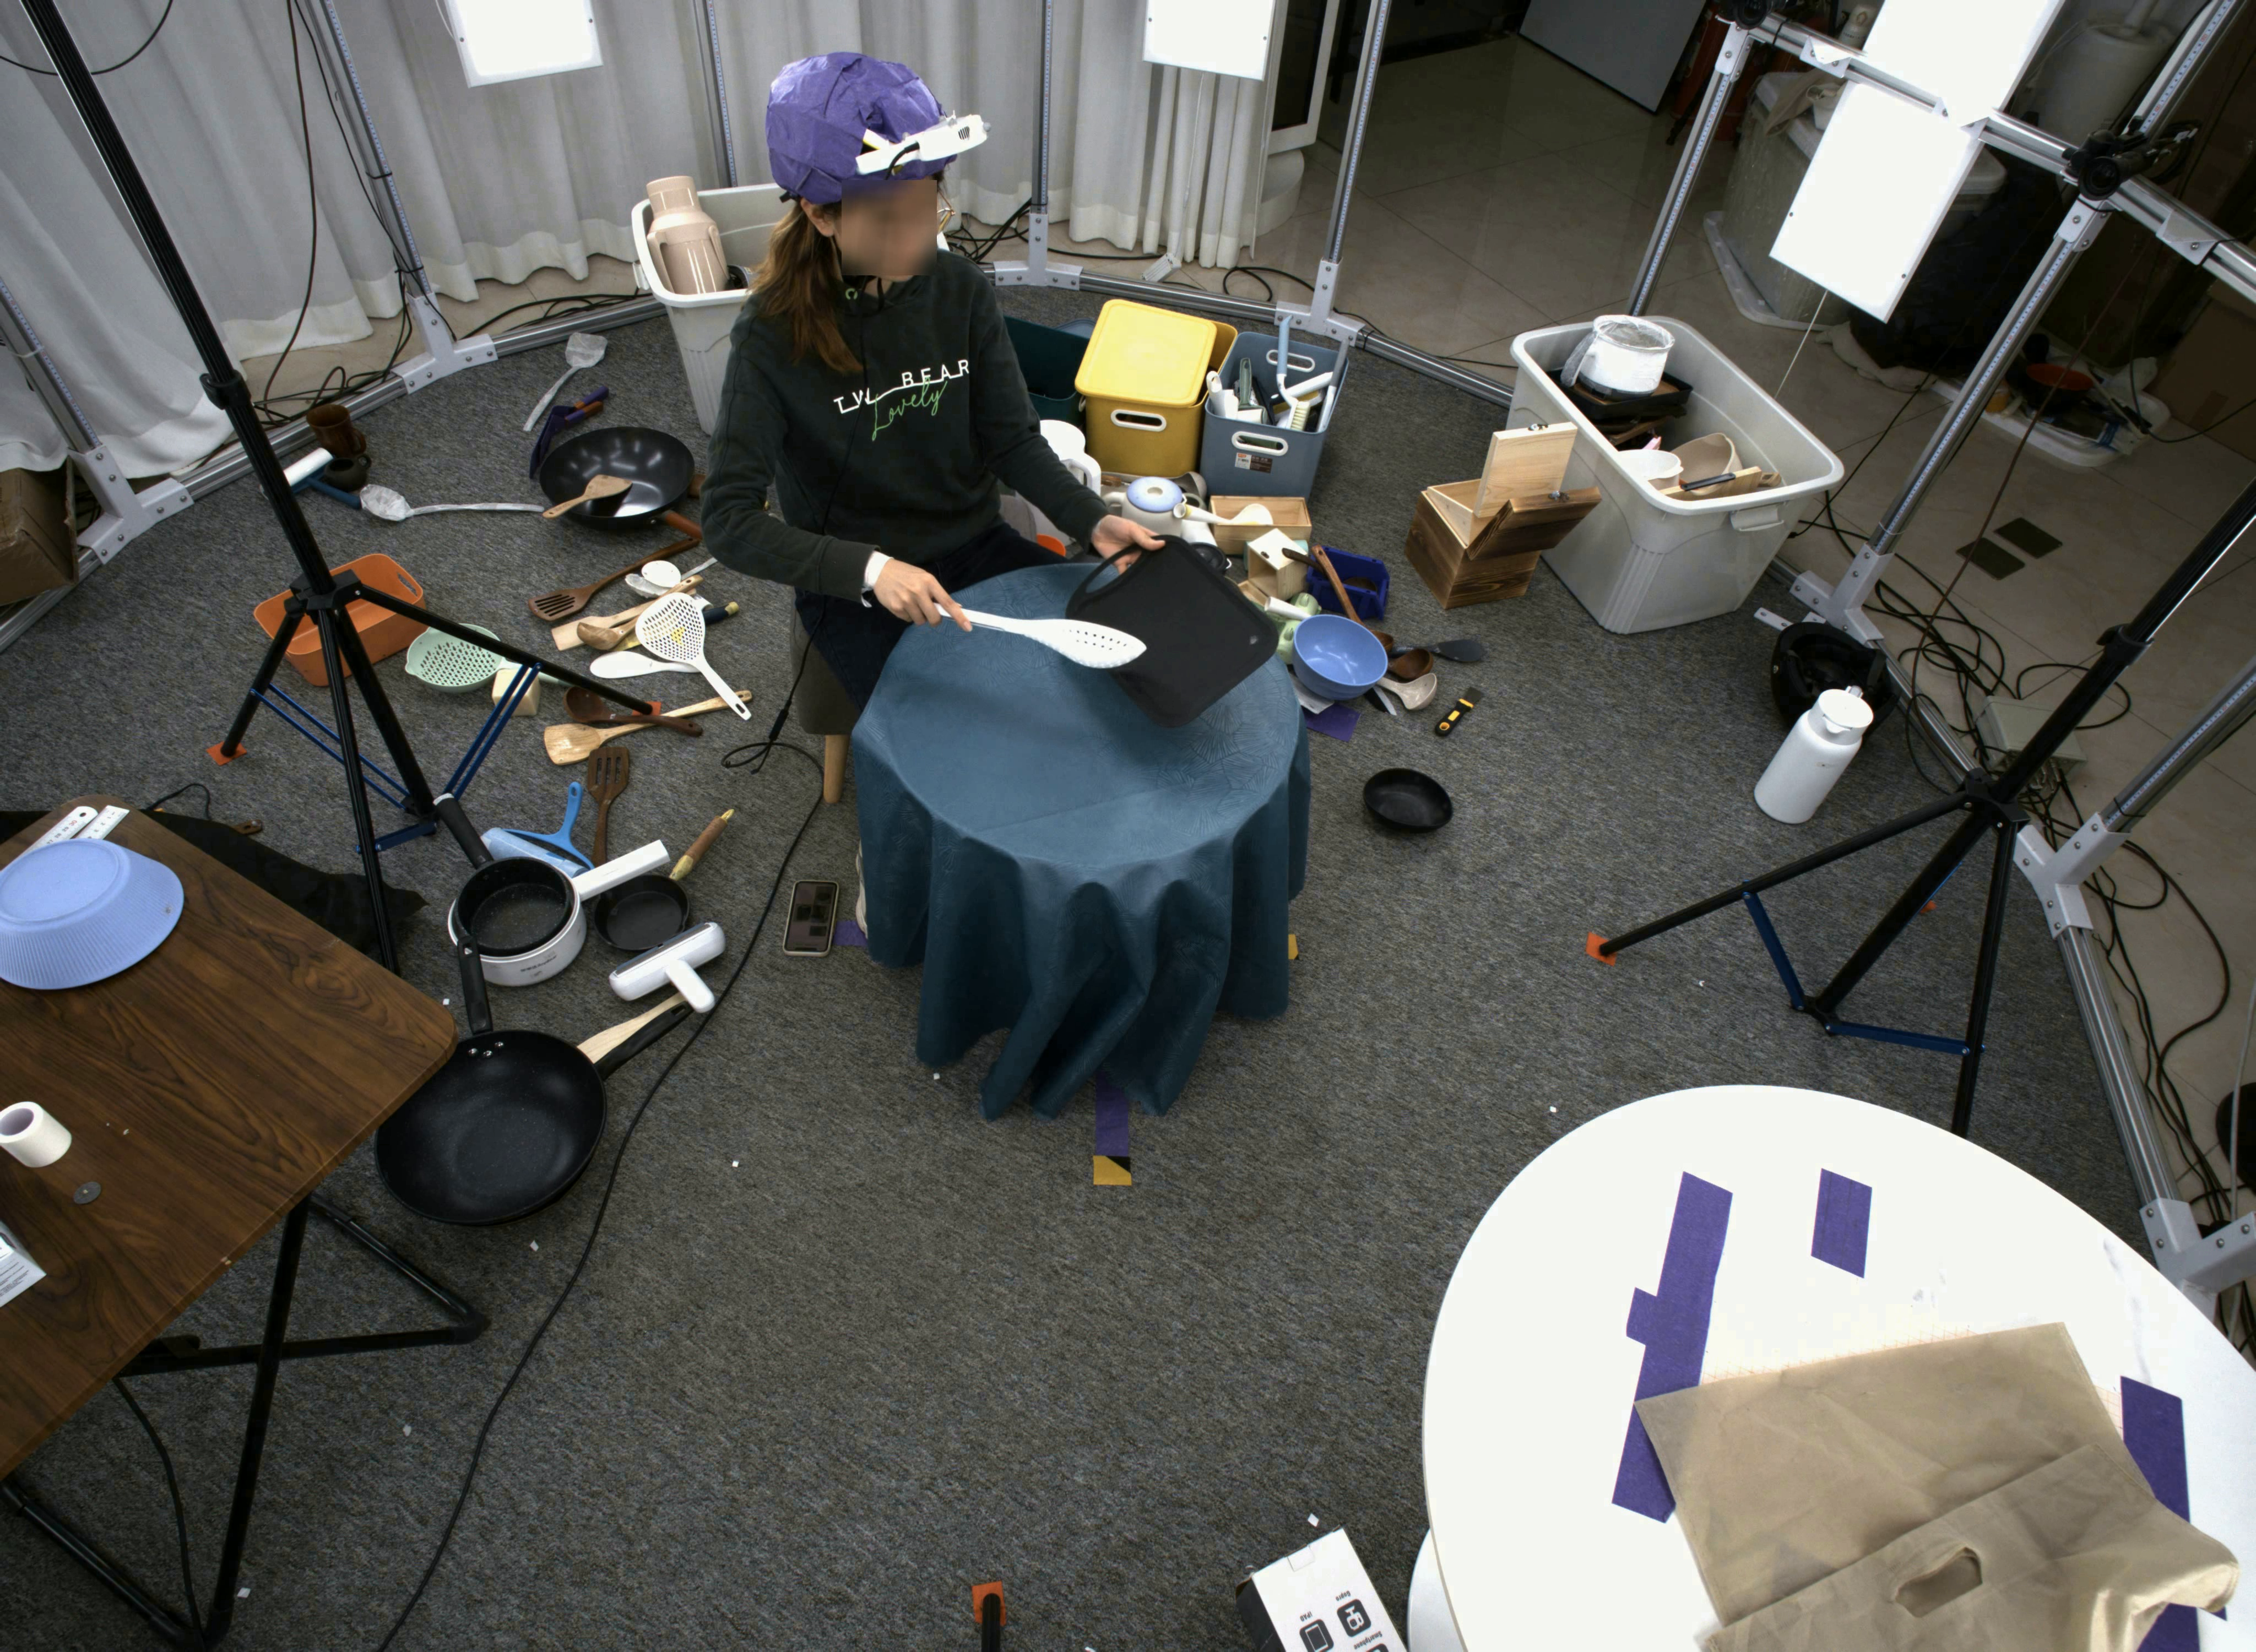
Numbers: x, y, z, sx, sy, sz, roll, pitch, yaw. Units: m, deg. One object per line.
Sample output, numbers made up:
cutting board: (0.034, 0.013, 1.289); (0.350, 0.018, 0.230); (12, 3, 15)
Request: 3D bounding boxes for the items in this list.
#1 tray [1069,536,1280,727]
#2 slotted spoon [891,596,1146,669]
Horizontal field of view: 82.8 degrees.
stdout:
tray: (0.053, -0.282, 1.789); (0.211, 0.009, 0.332); (-38, 53, -2)
slotted spoon: (-0.148, -0.265, 1.709); (0.351, 0.135, 0.046); (17, 84, 11)
